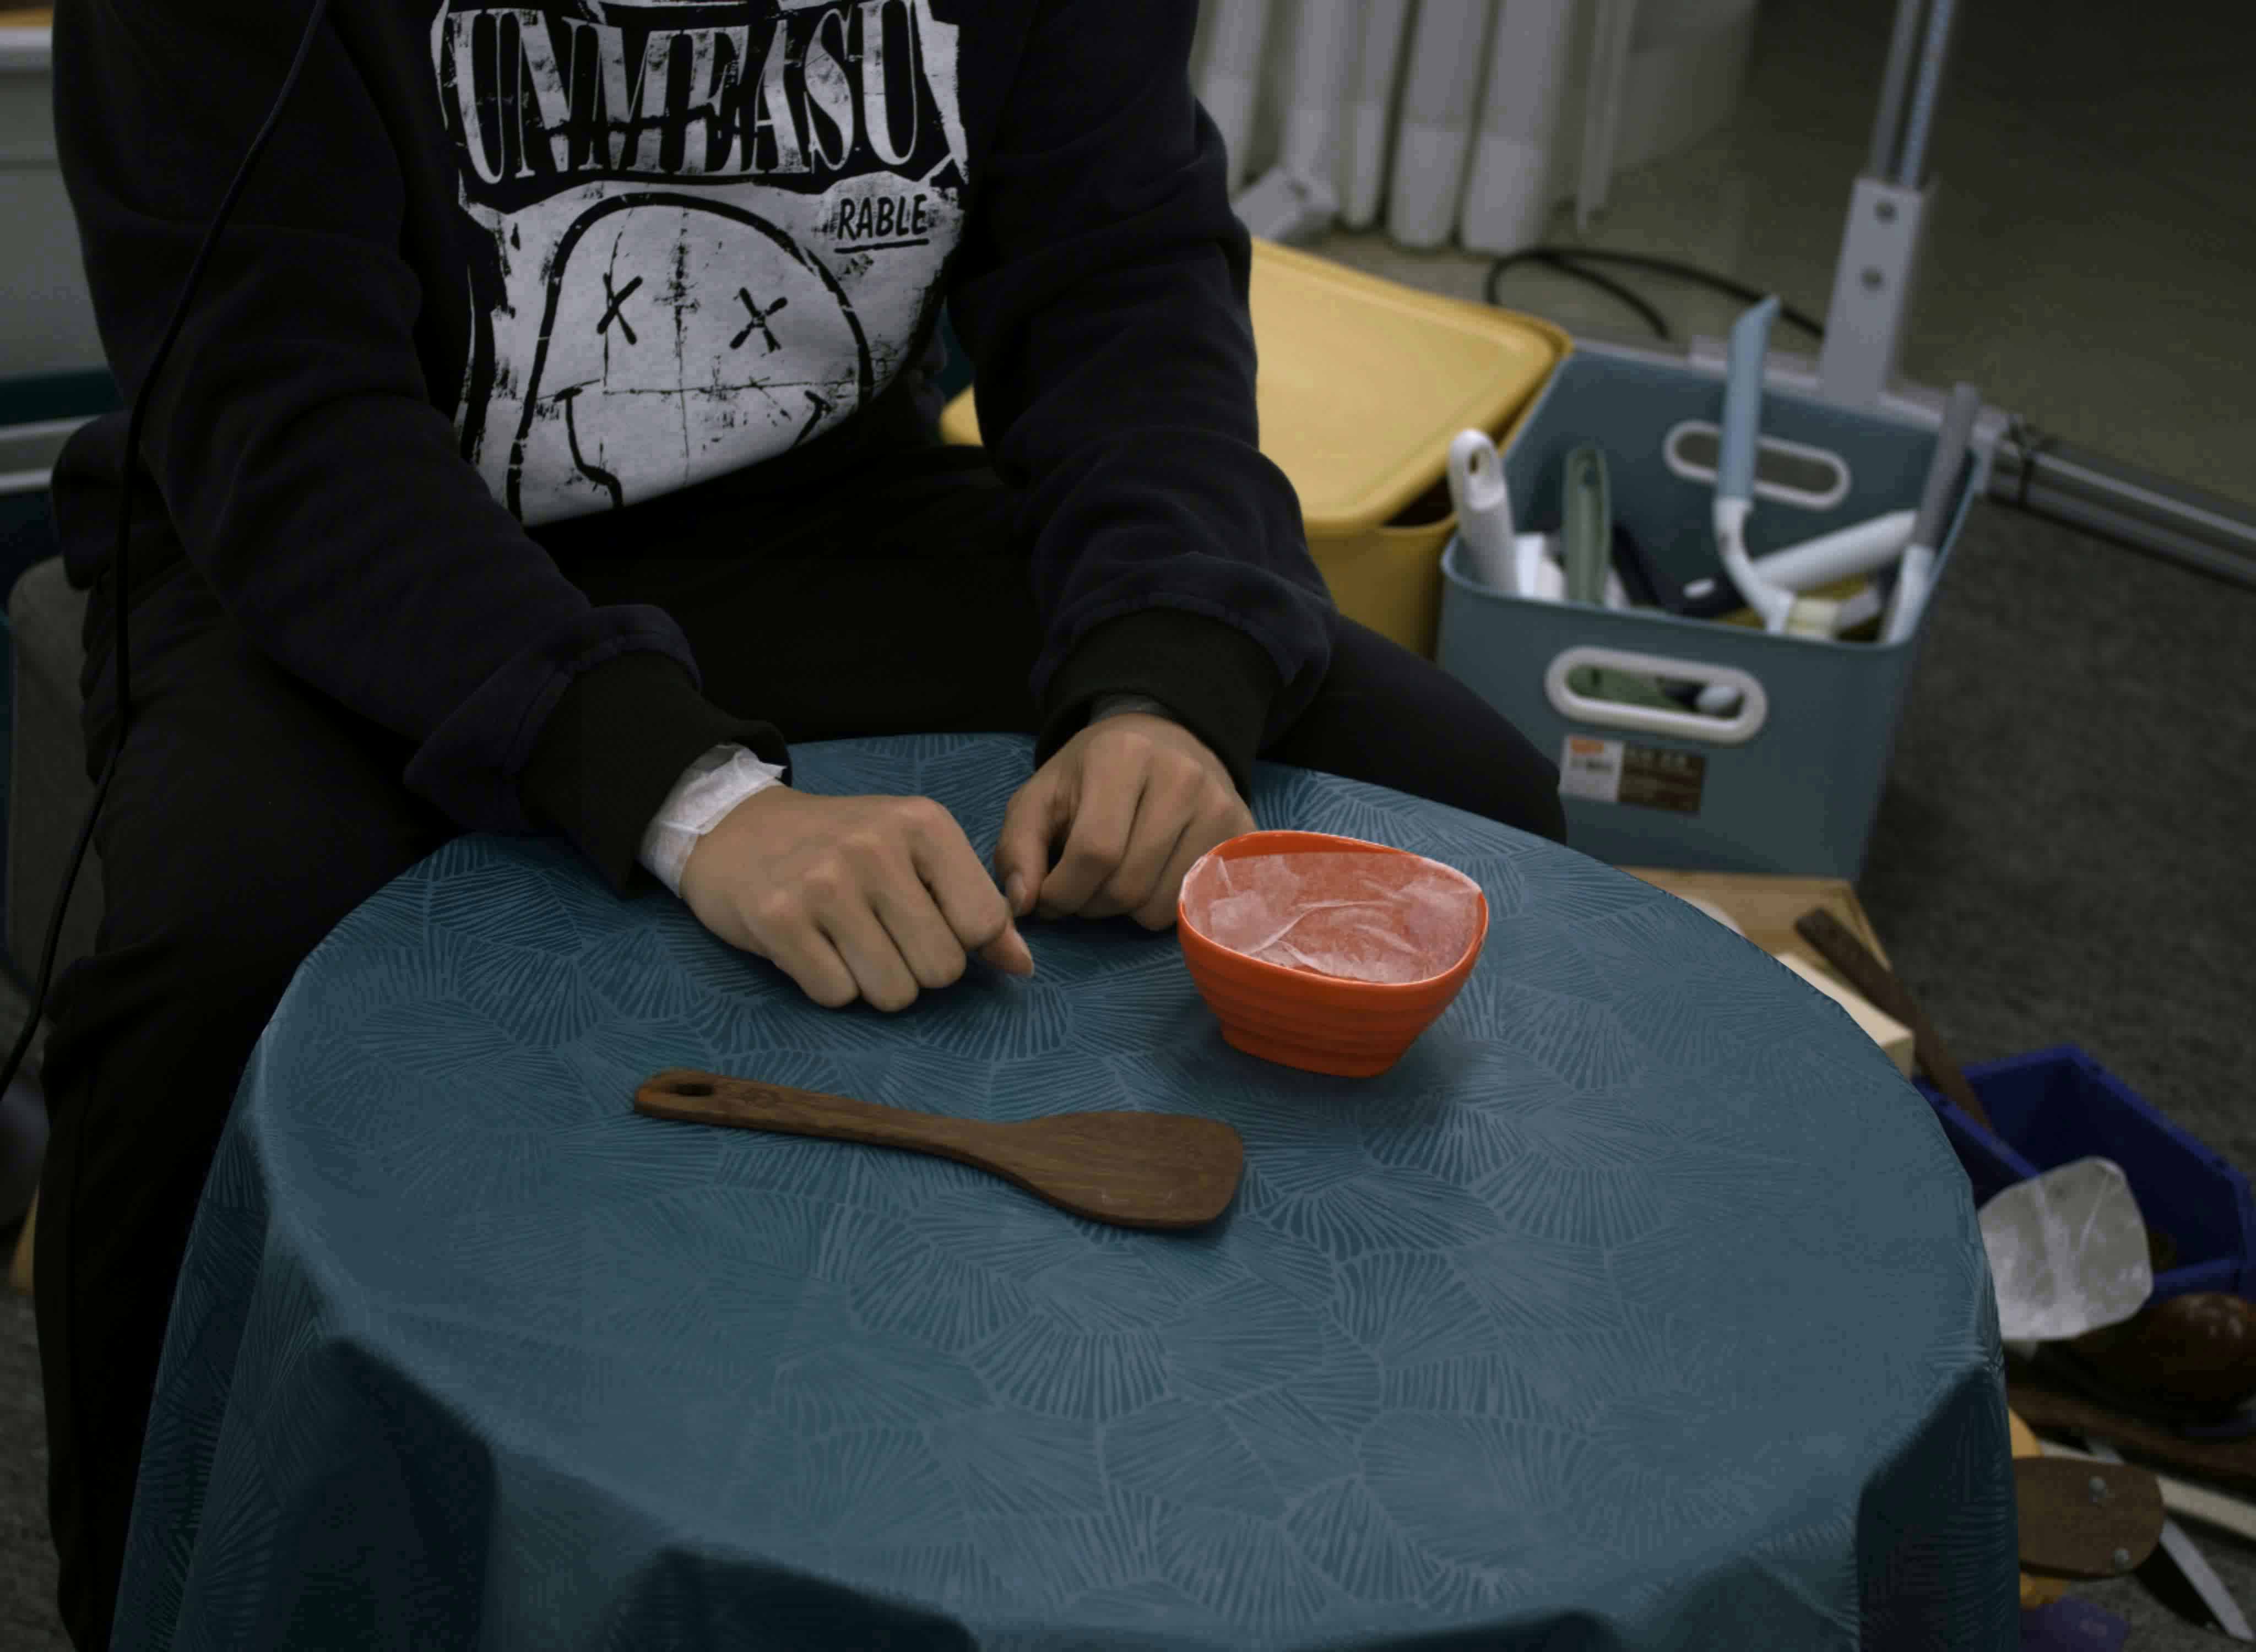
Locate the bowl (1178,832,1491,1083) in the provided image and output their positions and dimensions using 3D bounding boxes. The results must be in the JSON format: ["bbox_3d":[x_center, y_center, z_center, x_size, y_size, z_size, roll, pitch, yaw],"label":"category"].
[{"bbox_3d":[0.071,0.051,1.906,0.118,0.051,0.119,5,28,-3],"label":"bowl"}]

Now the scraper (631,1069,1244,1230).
[{"bbox_3d":[-0.065,0.106,1.813,0.211,0.011,0.076,9,26,6],"label":"scraper"}]
